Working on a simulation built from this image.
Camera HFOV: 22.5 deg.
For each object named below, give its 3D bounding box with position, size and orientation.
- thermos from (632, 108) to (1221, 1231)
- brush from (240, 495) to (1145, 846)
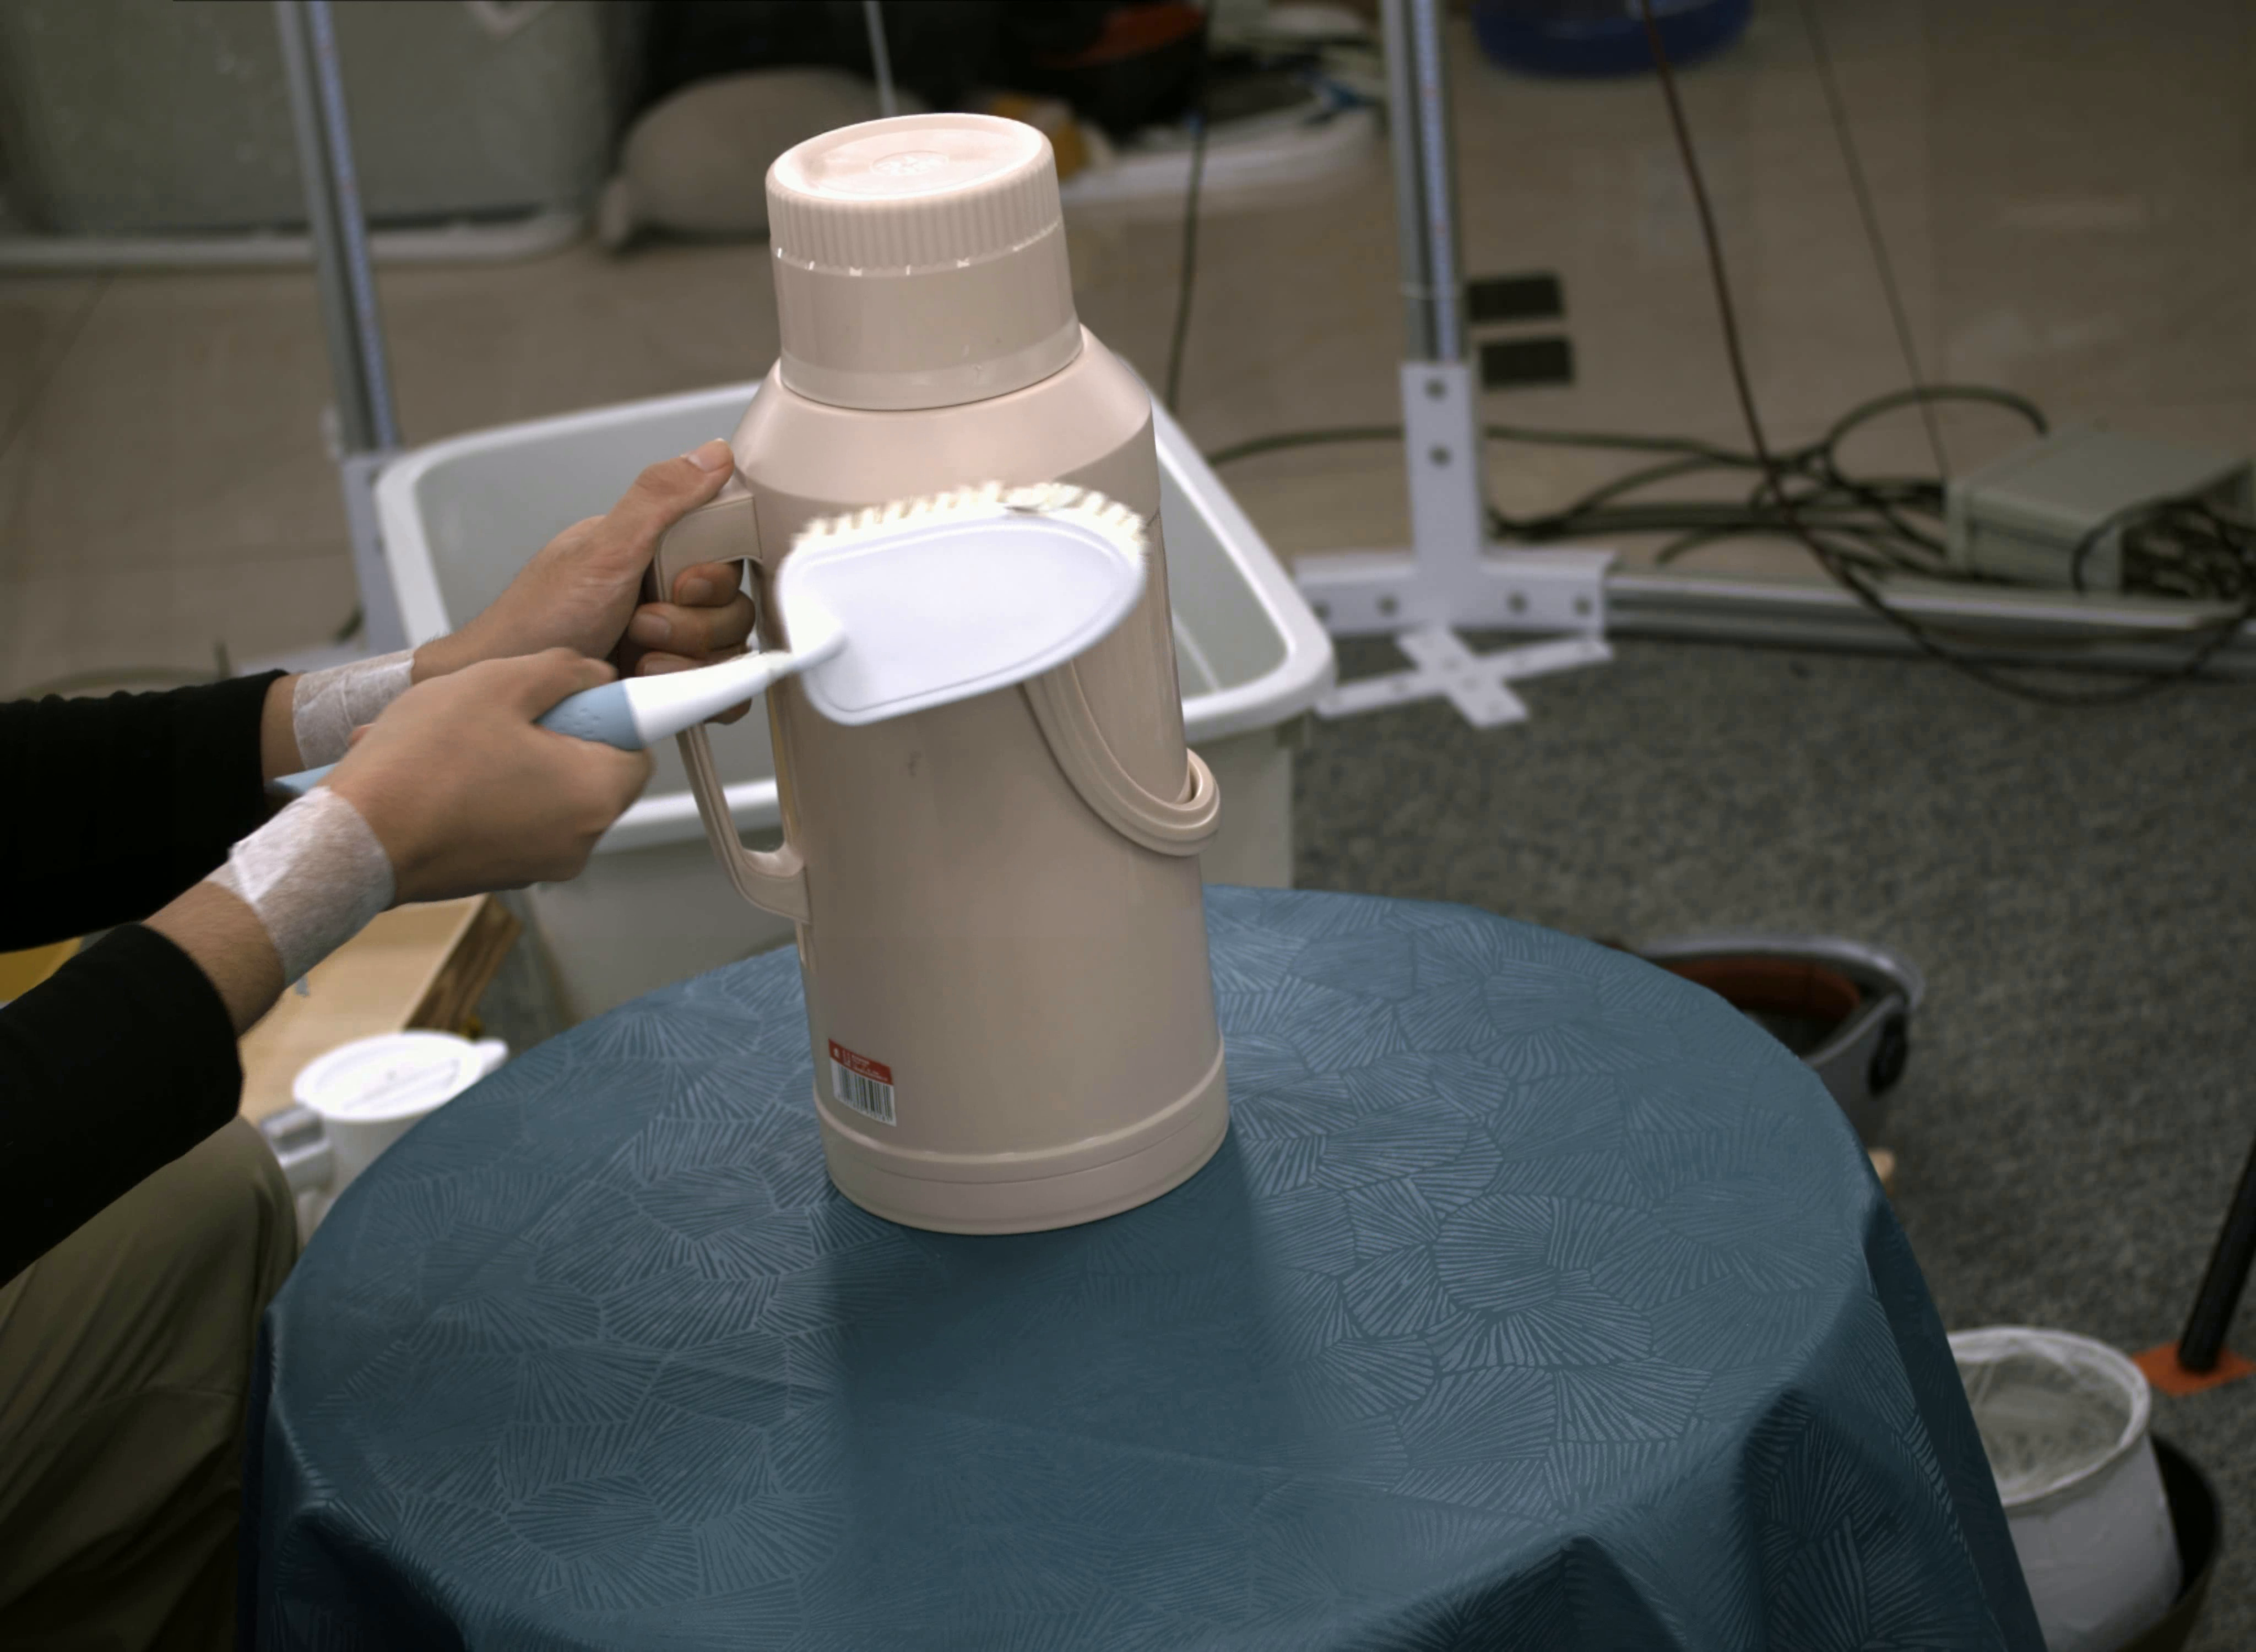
[{"bbox_3d":[-0.074,-0.057,2.108,0.206,0.413,0.173,-15,28,-17],"label":"thermos"},{"bbox_3d":[-0.152,-0.056,1.977,0.325,0.086,0.082,-16,66,-3],"label":"brush"}]
